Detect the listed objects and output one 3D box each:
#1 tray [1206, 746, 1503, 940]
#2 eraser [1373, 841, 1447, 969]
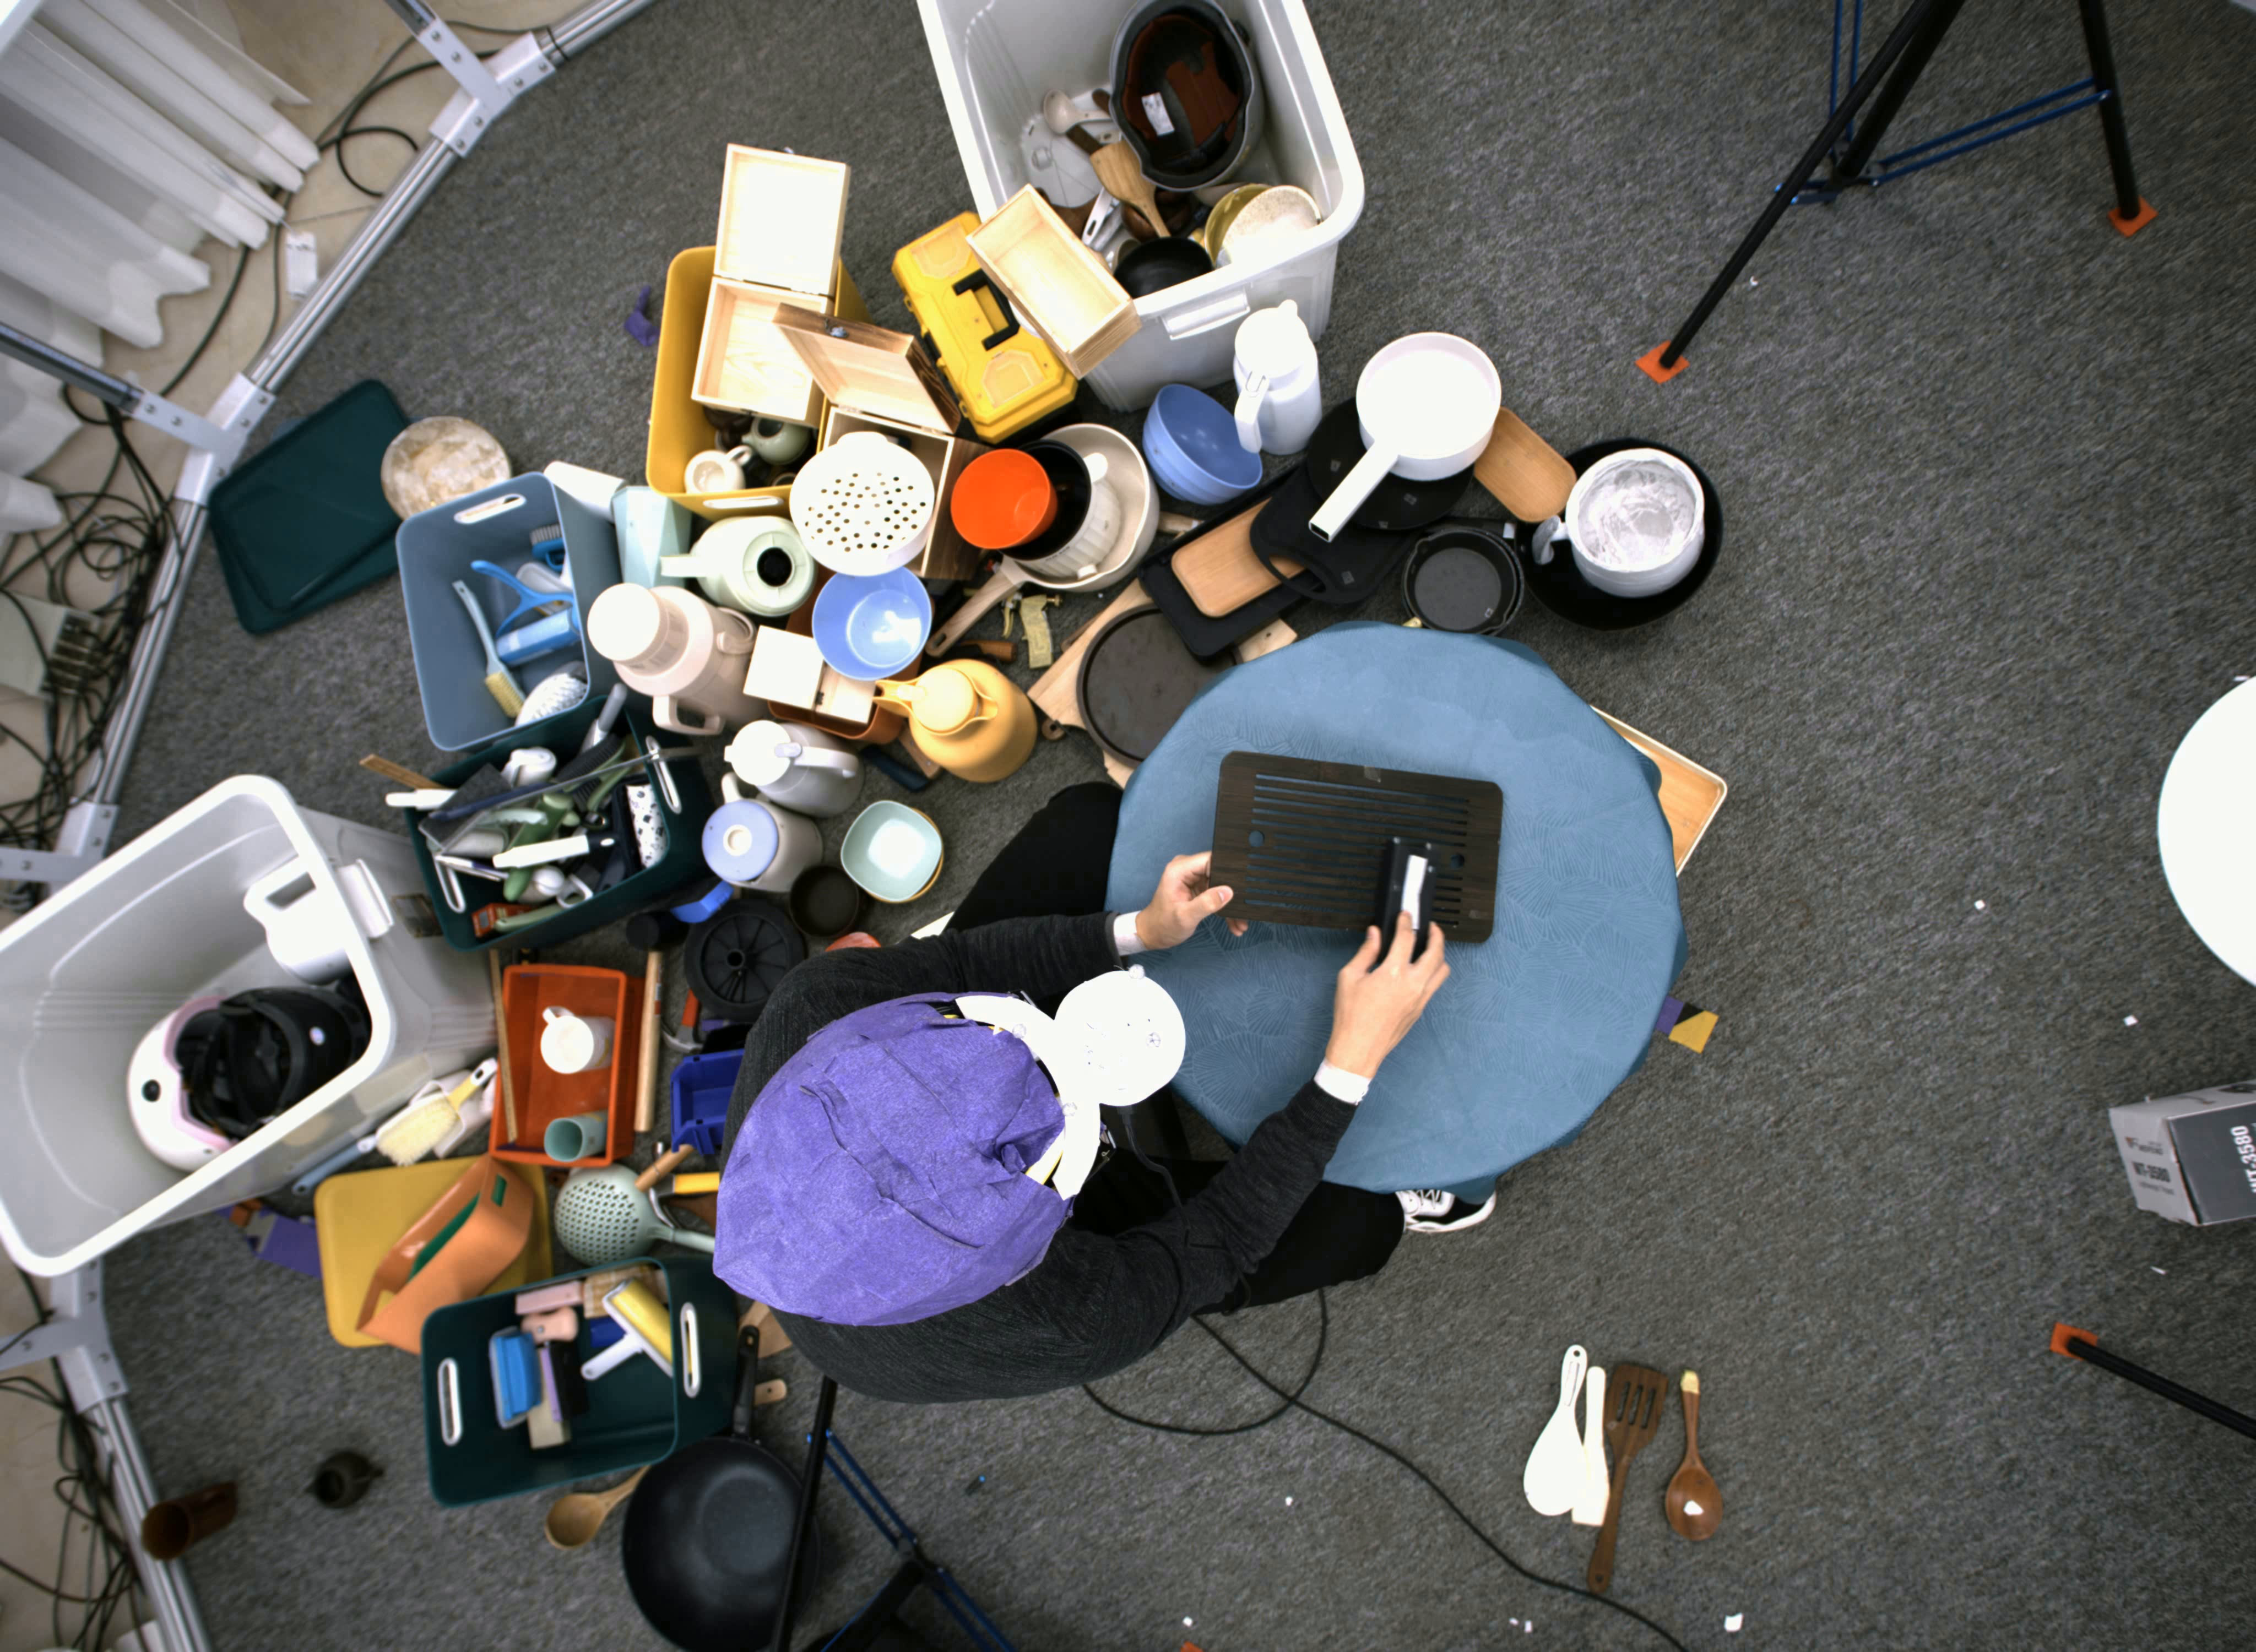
[{"bbox_3d":[0.234,0.018,1.411,0.306,0.018,0.170,6,89,-9],"label":"tray"},{"bbox_3d":[0.285,0.078,1.400,0.053,0.030,0.125,10,90,-7],"label":"eraser"}]
